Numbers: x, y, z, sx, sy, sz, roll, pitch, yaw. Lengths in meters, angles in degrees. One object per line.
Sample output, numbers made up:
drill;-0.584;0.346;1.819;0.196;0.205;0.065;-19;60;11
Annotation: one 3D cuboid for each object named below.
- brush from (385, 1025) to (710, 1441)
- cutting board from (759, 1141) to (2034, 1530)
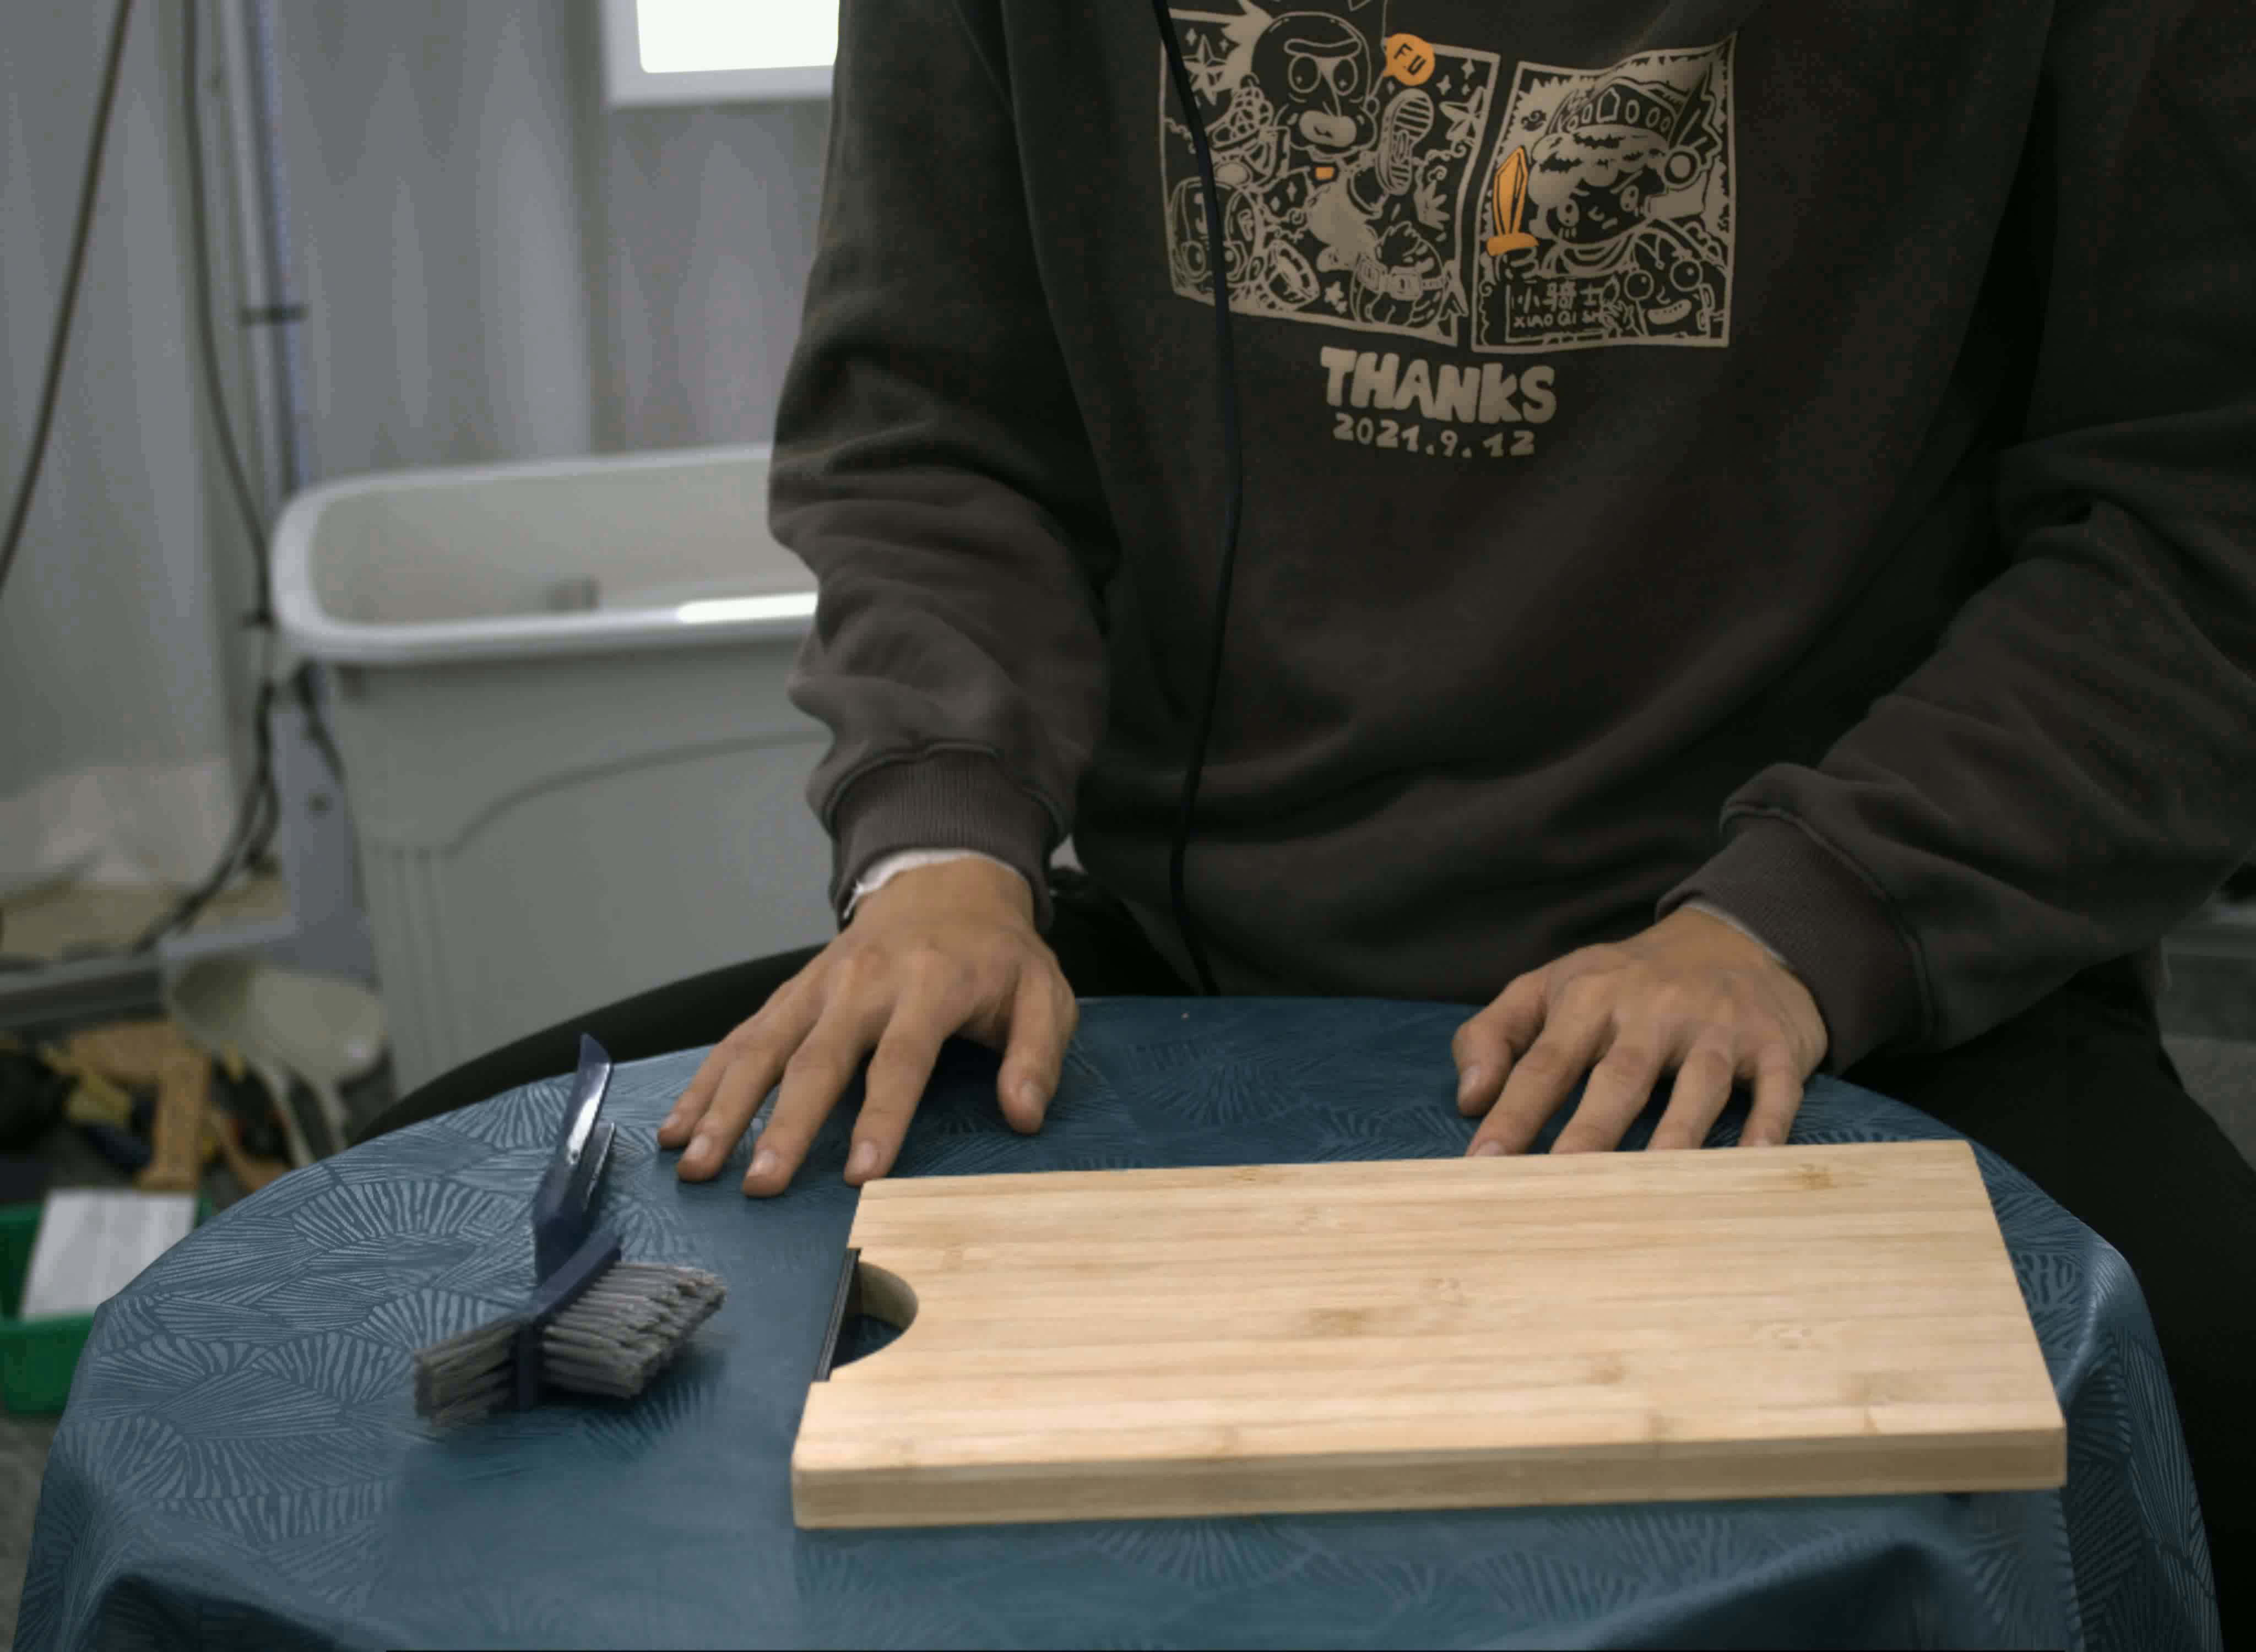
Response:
brush;-0.180;0.121;1.676;0.095;0.033;0.275;-5;16;-6
cutting board;0.077;0.144;1.568;0.347;0.023;0.252;-2;14;2
